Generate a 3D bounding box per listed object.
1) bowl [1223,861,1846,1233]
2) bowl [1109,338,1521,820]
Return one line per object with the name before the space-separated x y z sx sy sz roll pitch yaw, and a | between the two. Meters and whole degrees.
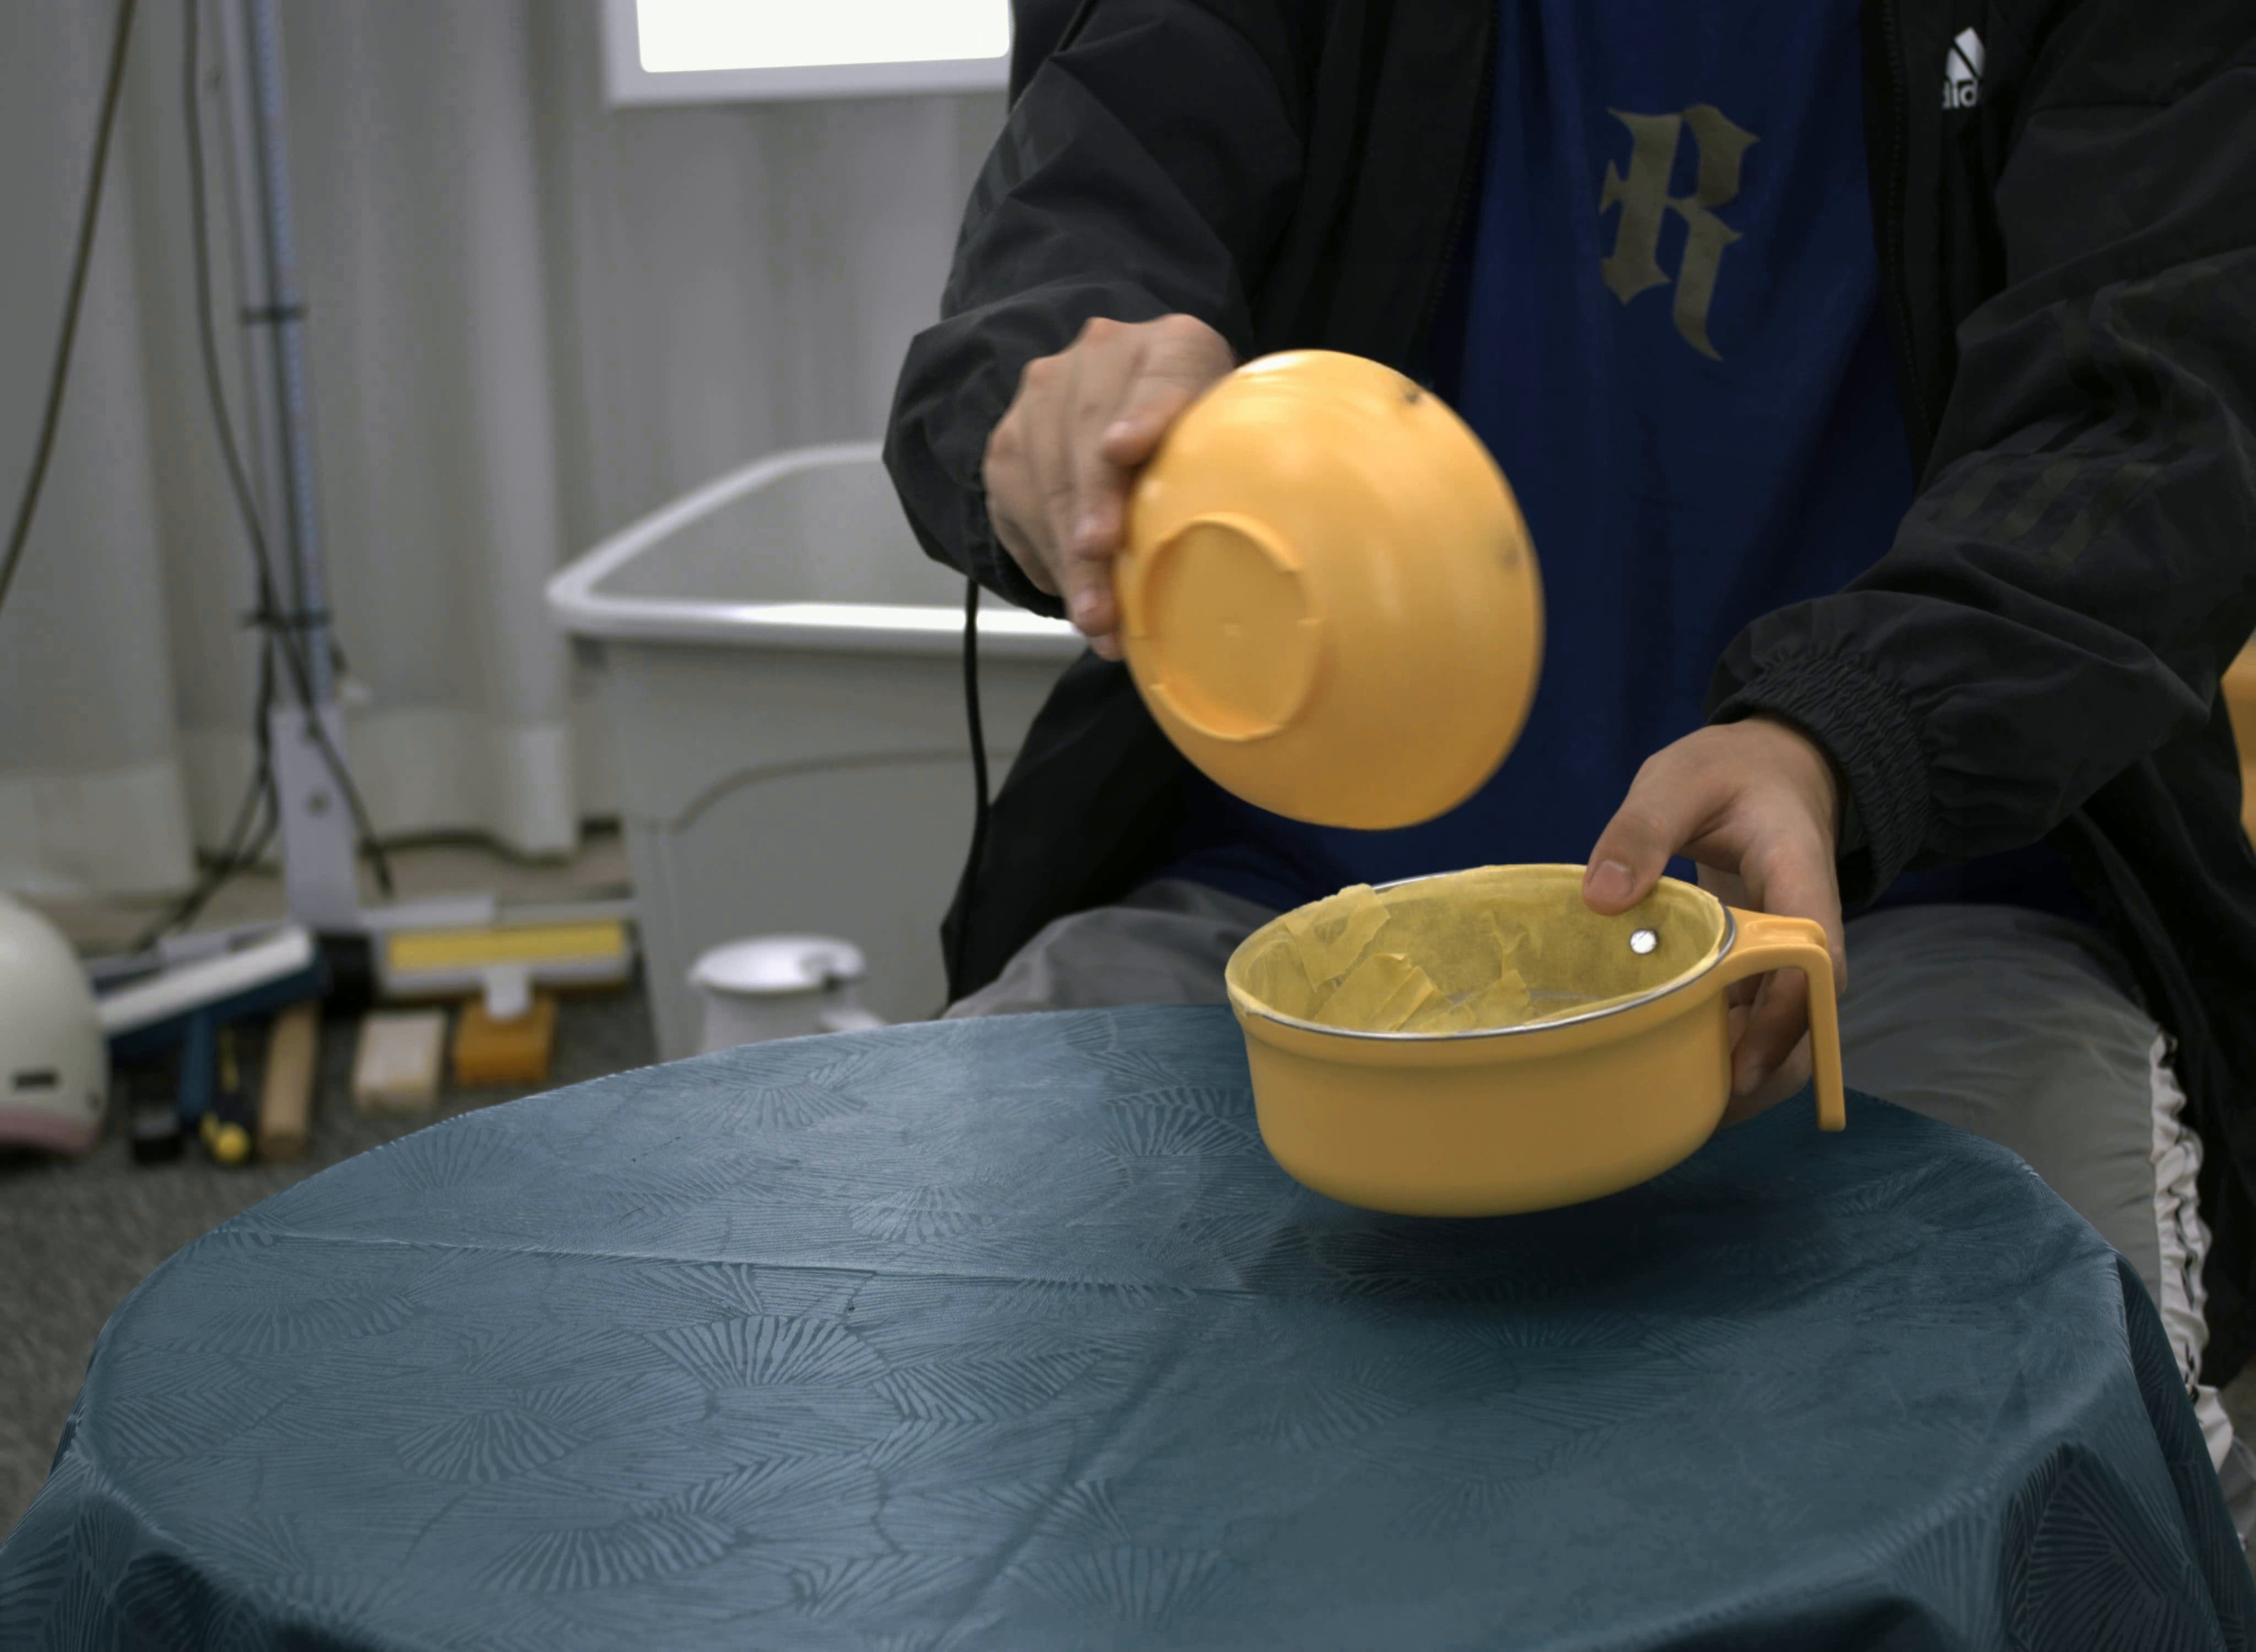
bowl | 0.121 0.067 1.619 0.179 0.074 0.154 -7 16 2
bowl | 0.041 -0.066 1.598 0.146 0.145 0.060 10 20 41
